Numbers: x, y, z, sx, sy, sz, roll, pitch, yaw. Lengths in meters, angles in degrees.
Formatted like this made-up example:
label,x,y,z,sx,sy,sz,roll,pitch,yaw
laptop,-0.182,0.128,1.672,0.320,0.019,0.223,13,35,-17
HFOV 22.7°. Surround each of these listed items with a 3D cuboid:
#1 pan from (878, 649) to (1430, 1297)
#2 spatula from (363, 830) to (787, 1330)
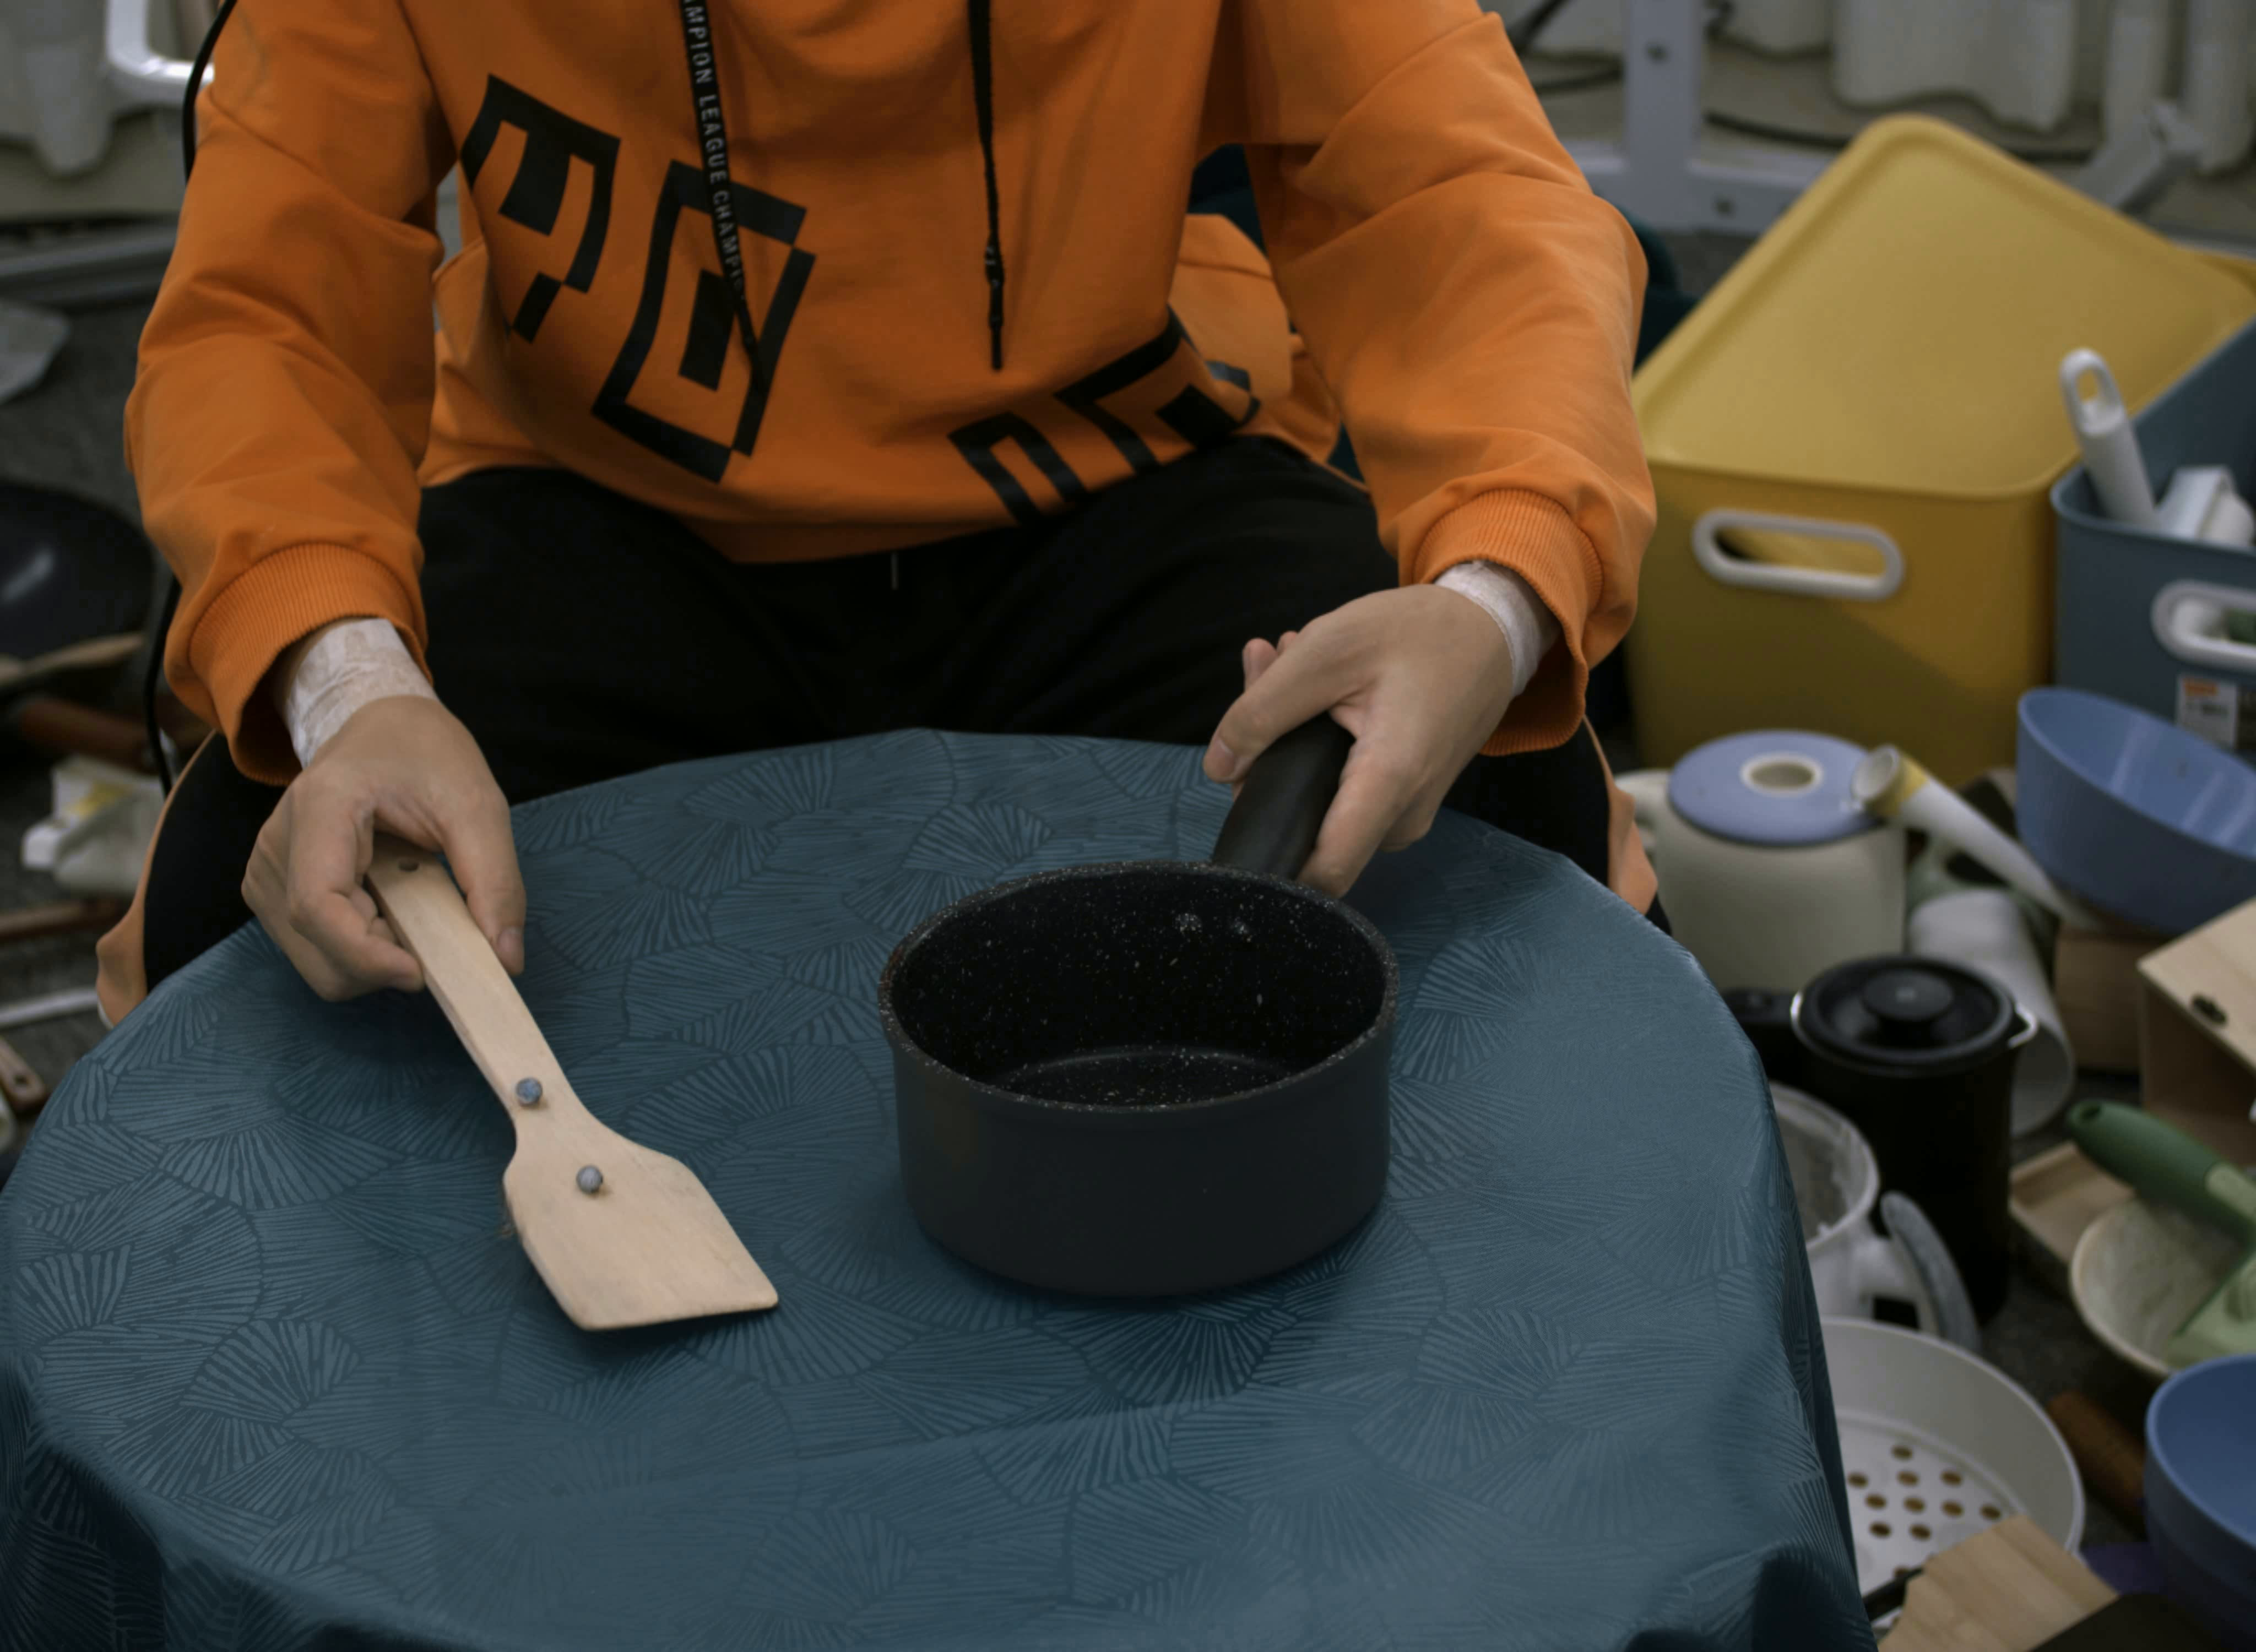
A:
label,x,y,z,sx,sy,sz,roll,pitch,yaw
pan,0.033,0.046,1.916,0.171,0.085,0.334,9,30,19
spatula,-0.201,0.082,1.896,0.072,0.010,0.296,-4,34,-28
